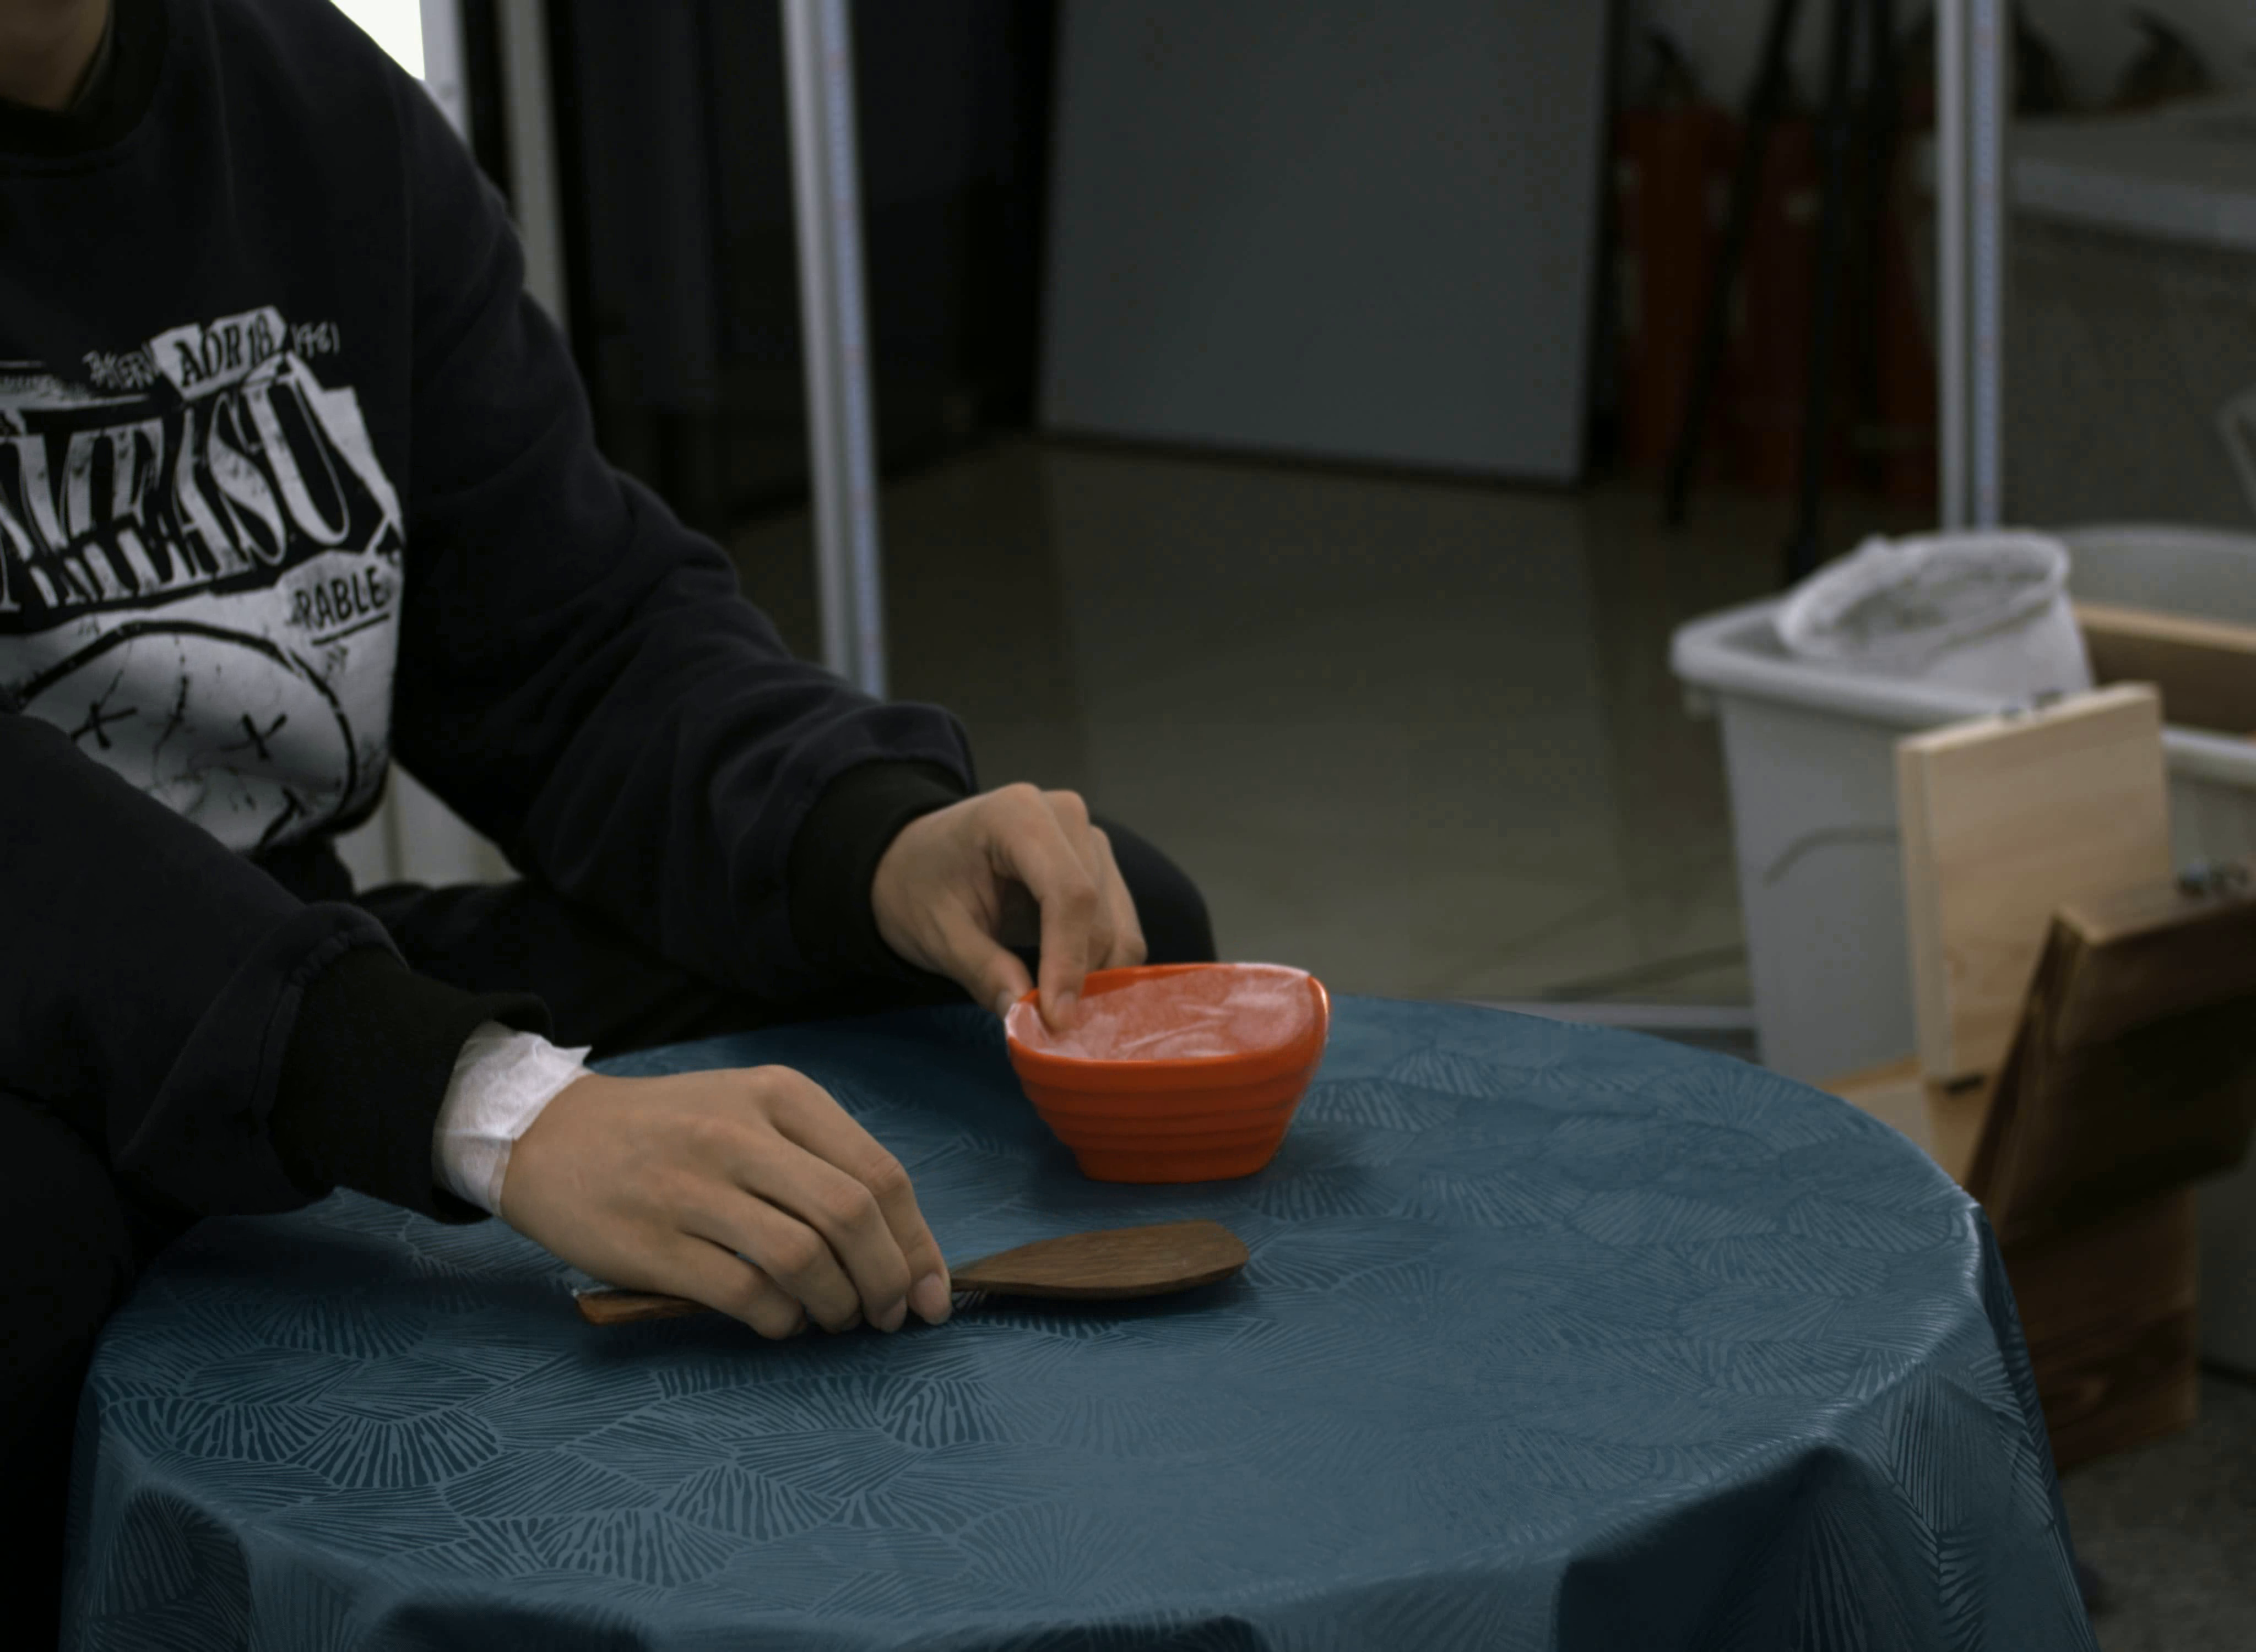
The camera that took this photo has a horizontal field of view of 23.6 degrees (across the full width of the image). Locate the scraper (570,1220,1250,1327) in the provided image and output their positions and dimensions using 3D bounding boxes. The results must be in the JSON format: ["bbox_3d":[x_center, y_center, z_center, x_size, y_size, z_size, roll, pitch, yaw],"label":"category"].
[{"bbox_3d":[-0.067,0.141,1.665,0.207,0.011,0.076,-4,9,-12],"label":"scraper"}]

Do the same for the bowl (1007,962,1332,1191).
[{"bbox_3d":[0.015,0.086,1.802,0.117,0.052,0.119,-3,17,0],"label":"bowl"}]
